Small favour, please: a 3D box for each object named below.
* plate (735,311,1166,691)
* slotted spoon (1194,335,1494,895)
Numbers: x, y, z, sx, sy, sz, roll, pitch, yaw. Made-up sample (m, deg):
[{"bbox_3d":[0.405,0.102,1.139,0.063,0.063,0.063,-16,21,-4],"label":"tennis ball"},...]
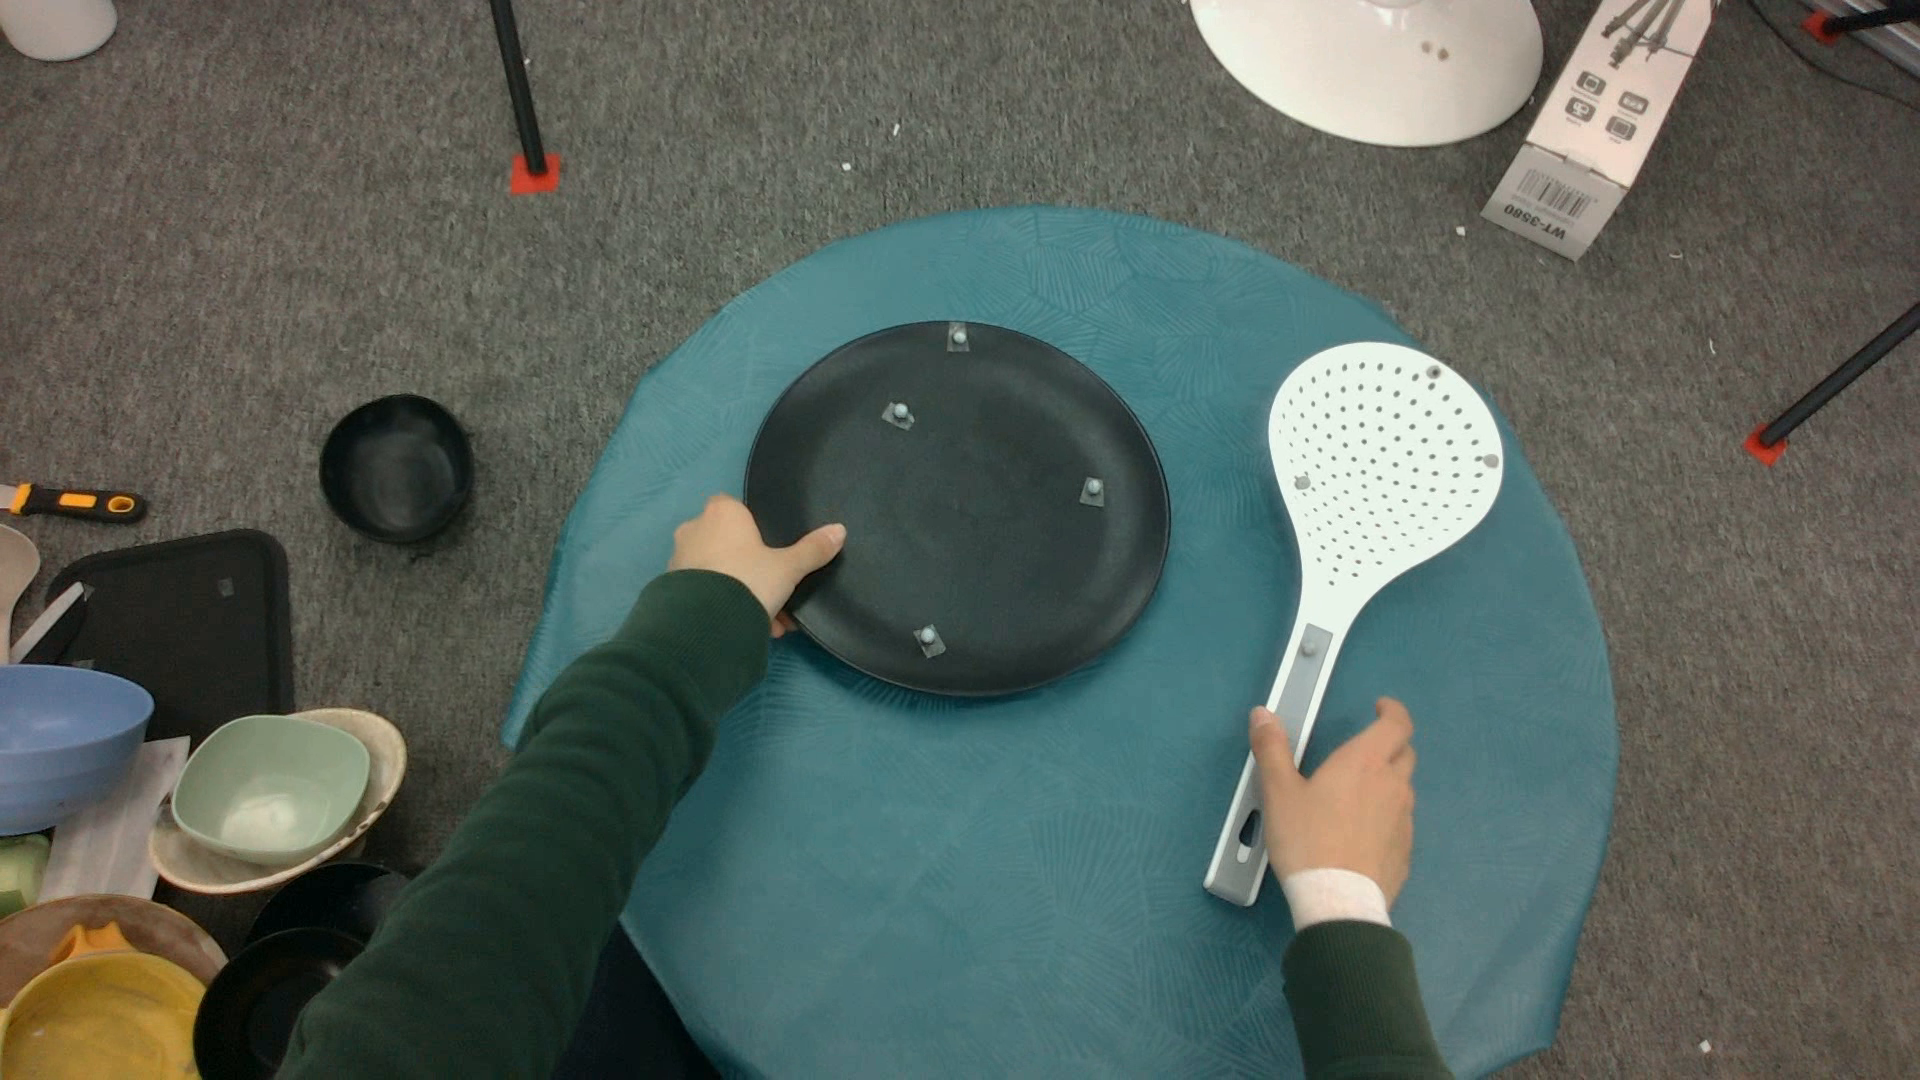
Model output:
[{"bbox_3d":[-0.004,-0.026,0.782,0.244,0.023,0.245,3,62,-6],"label":"plate"},{"bbox_3d":[0.202,0.032,0.769,0.136,0.045,0.351,23,62,6],"label":"slotted spoon"}]
